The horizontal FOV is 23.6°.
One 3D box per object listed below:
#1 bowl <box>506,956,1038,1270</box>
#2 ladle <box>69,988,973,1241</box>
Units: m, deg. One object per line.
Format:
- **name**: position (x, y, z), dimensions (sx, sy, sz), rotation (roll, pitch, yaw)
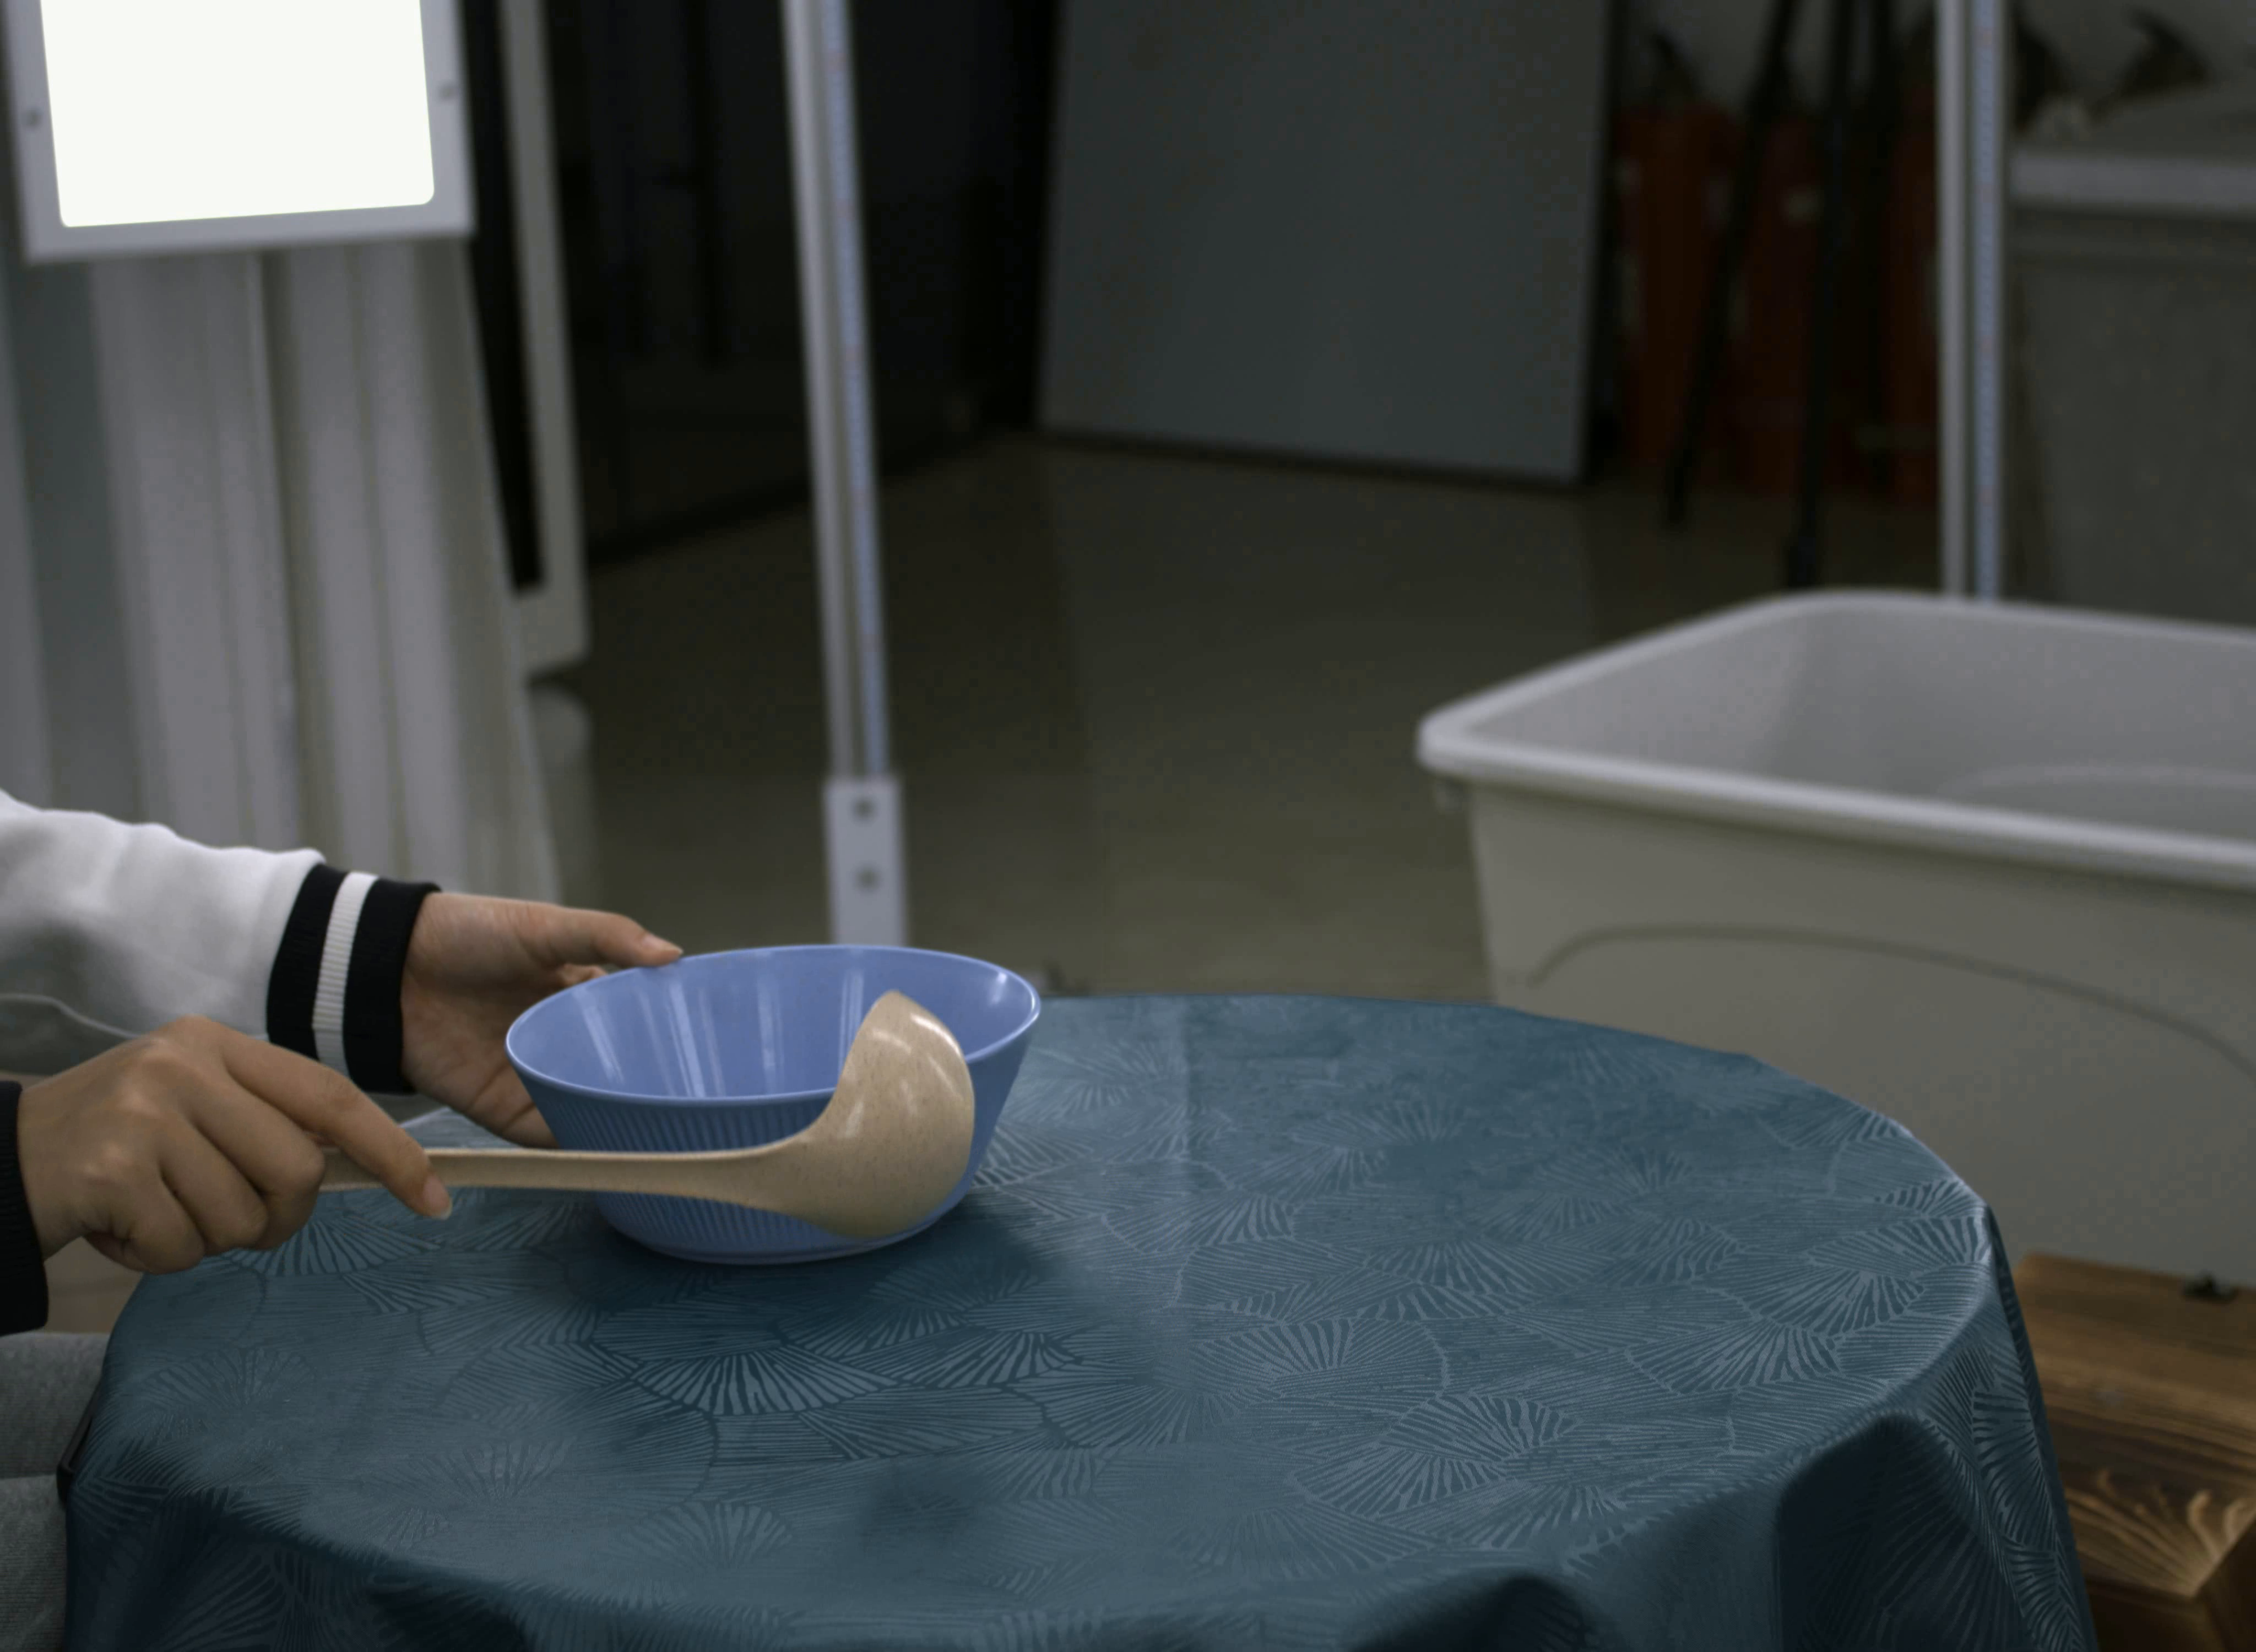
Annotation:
- **bowl**: position (-0.113, 0.095, 1.761), dimensions (0.174, 0.071, 0.176), rotation (-4, 13, 0)
- **ladle**: position (-0.169, 0.076, 1.526), dimensions (0.250, 0.073, 0.073), rotation (3, 39, -11)
